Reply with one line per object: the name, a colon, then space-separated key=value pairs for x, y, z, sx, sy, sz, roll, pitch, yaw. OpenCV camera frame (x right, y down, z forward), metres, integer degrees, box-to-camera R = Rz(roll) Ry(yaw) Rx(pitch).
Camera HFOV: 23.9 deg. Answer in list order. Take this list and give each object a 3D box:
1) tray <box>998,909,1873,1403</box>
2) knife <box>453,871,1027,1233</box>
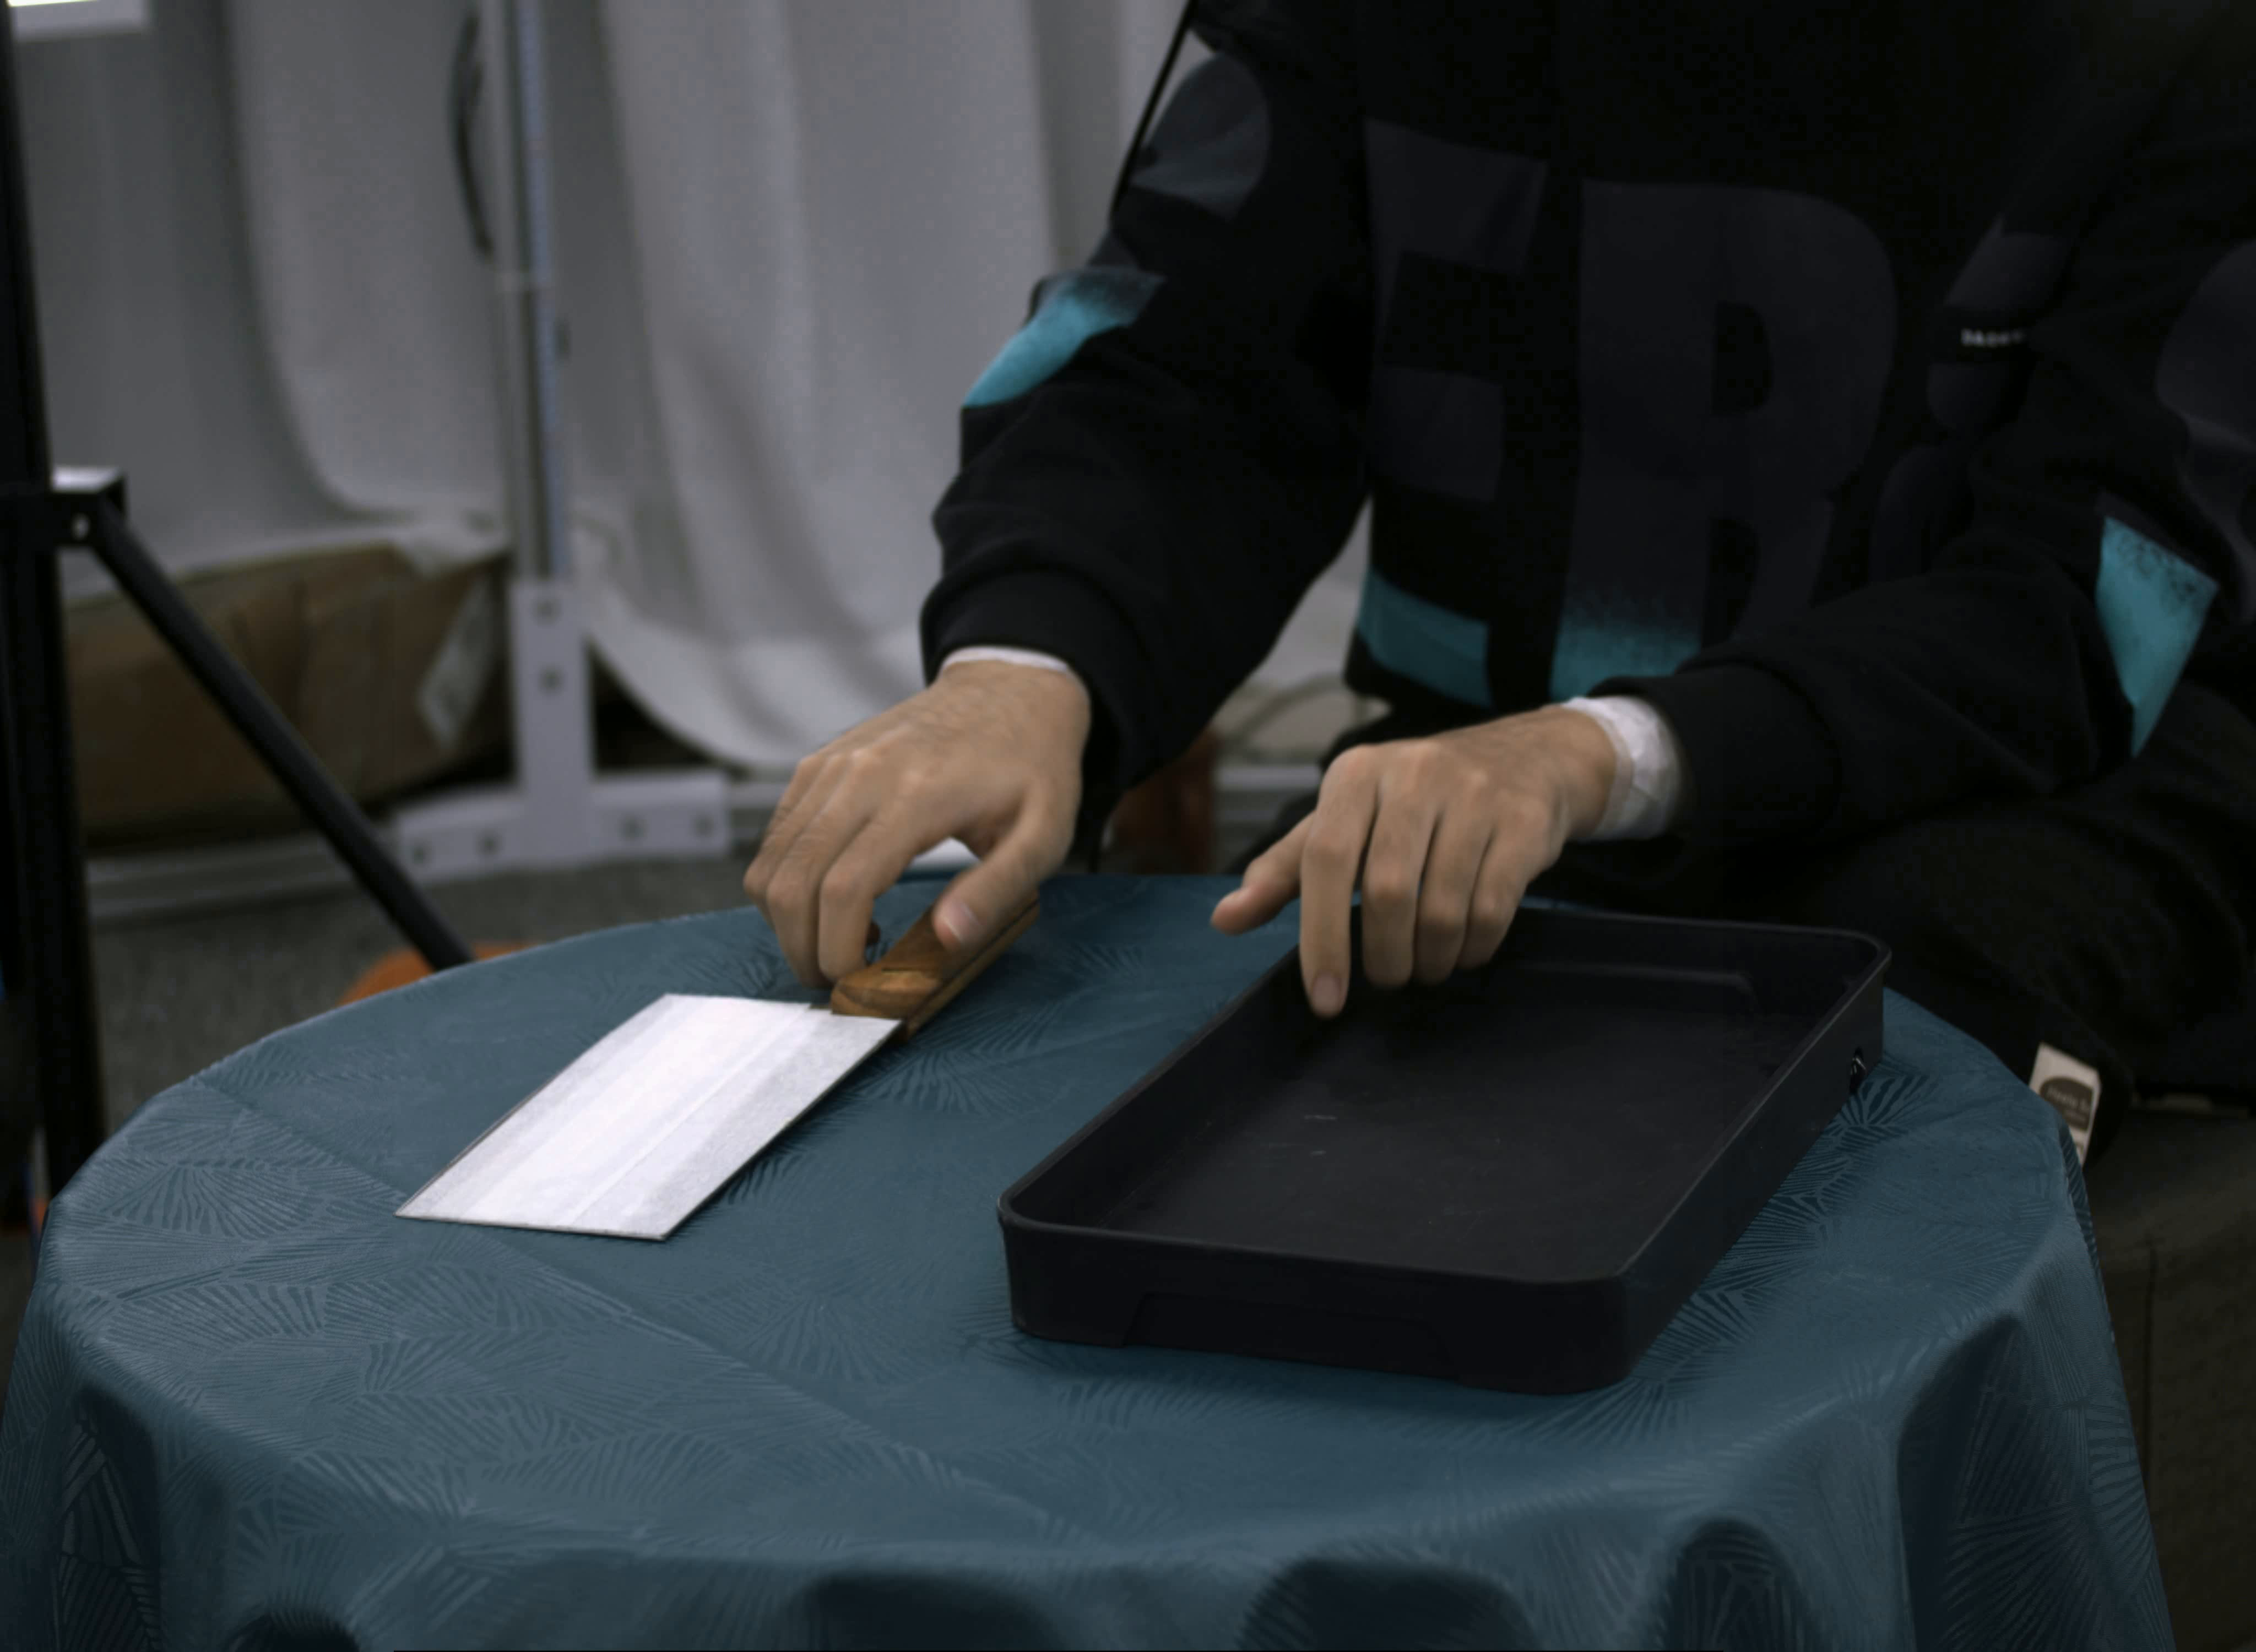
tray: x=0.098 y=0.089 z=1.542 sx=0.186 sy=0.037 sz=0.314 roll=3 pitch=17 yaw=21
knife: x=-0.121 y=0.069 z=1.685 sx=0.094 sy=0.021 sz=0.302 roll=2 pitch=19 yaw=21
